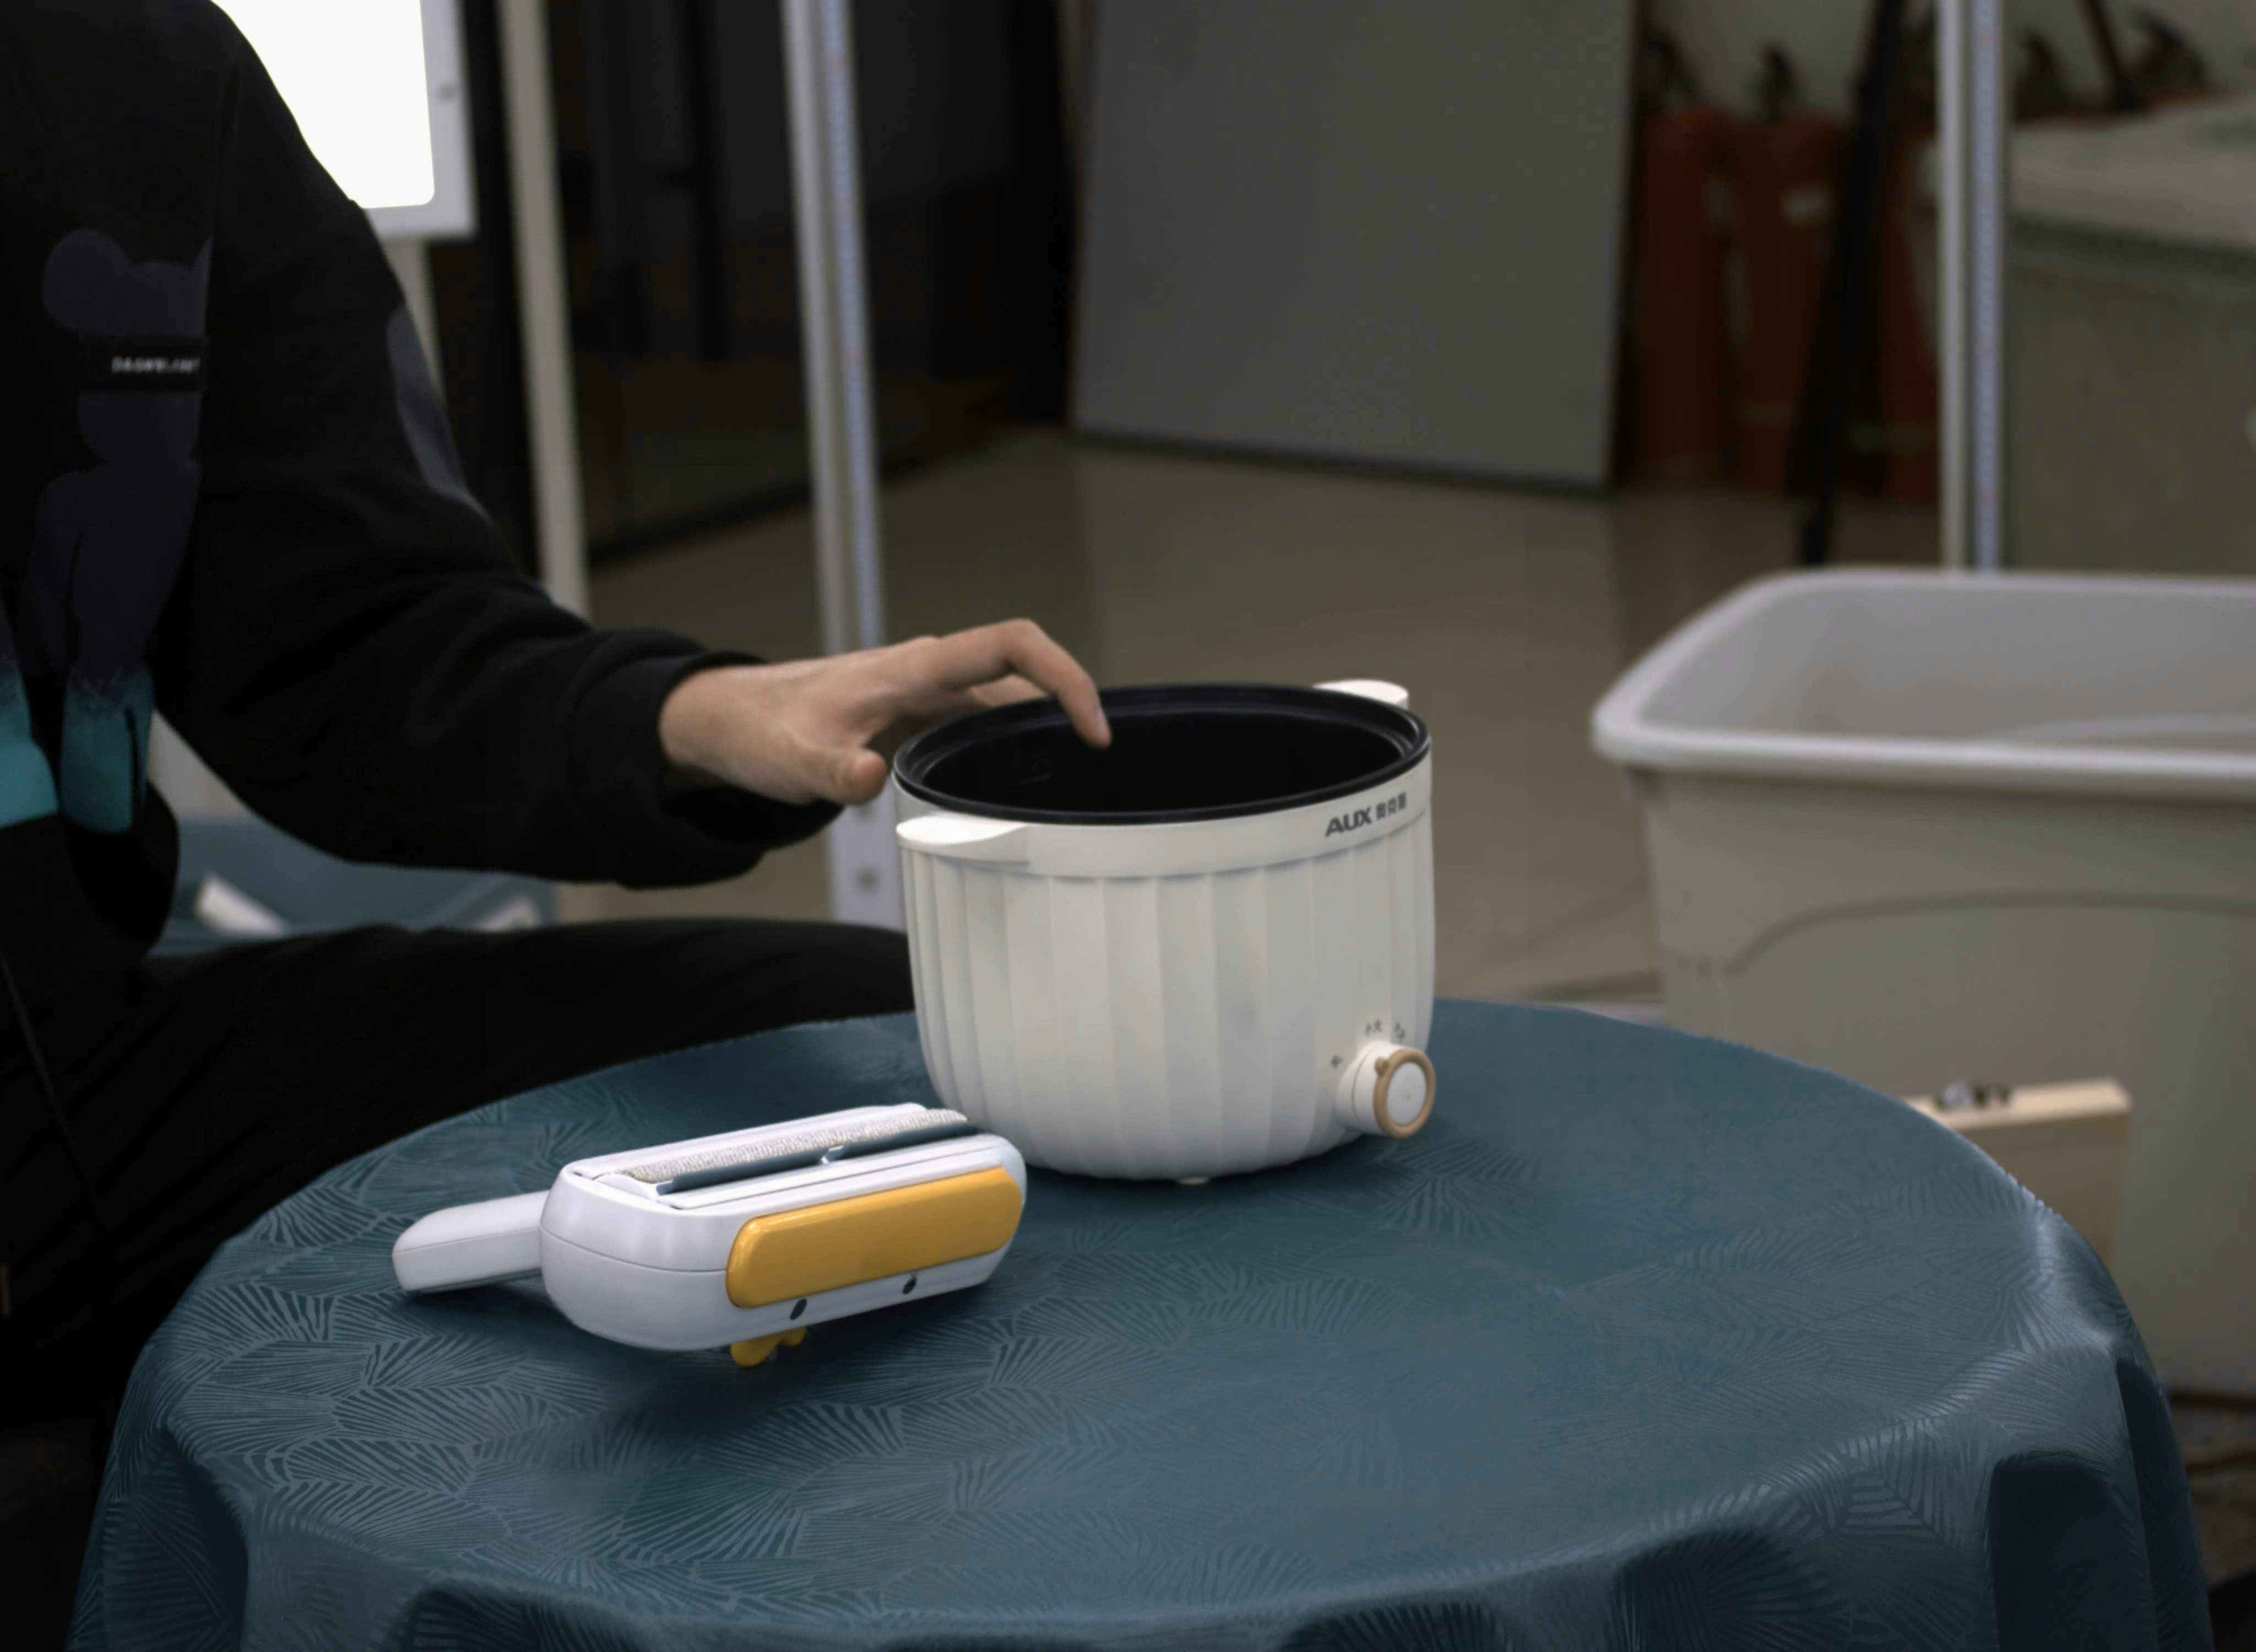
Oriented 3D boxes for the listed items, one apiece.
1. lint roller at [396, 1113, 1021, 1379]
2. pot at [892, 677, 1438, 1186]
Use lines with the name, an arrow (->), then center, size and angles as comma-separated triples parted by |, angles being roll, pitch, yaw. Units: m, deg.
lint roller -> -0.152, 0.124, 1.663 | 0.194, 0.075, 0.189 | 4, 10, 38
pot -> 0.020, 0.037, 1.812 | 0.192, 0.144, 0.236 | 5, 17, 42
